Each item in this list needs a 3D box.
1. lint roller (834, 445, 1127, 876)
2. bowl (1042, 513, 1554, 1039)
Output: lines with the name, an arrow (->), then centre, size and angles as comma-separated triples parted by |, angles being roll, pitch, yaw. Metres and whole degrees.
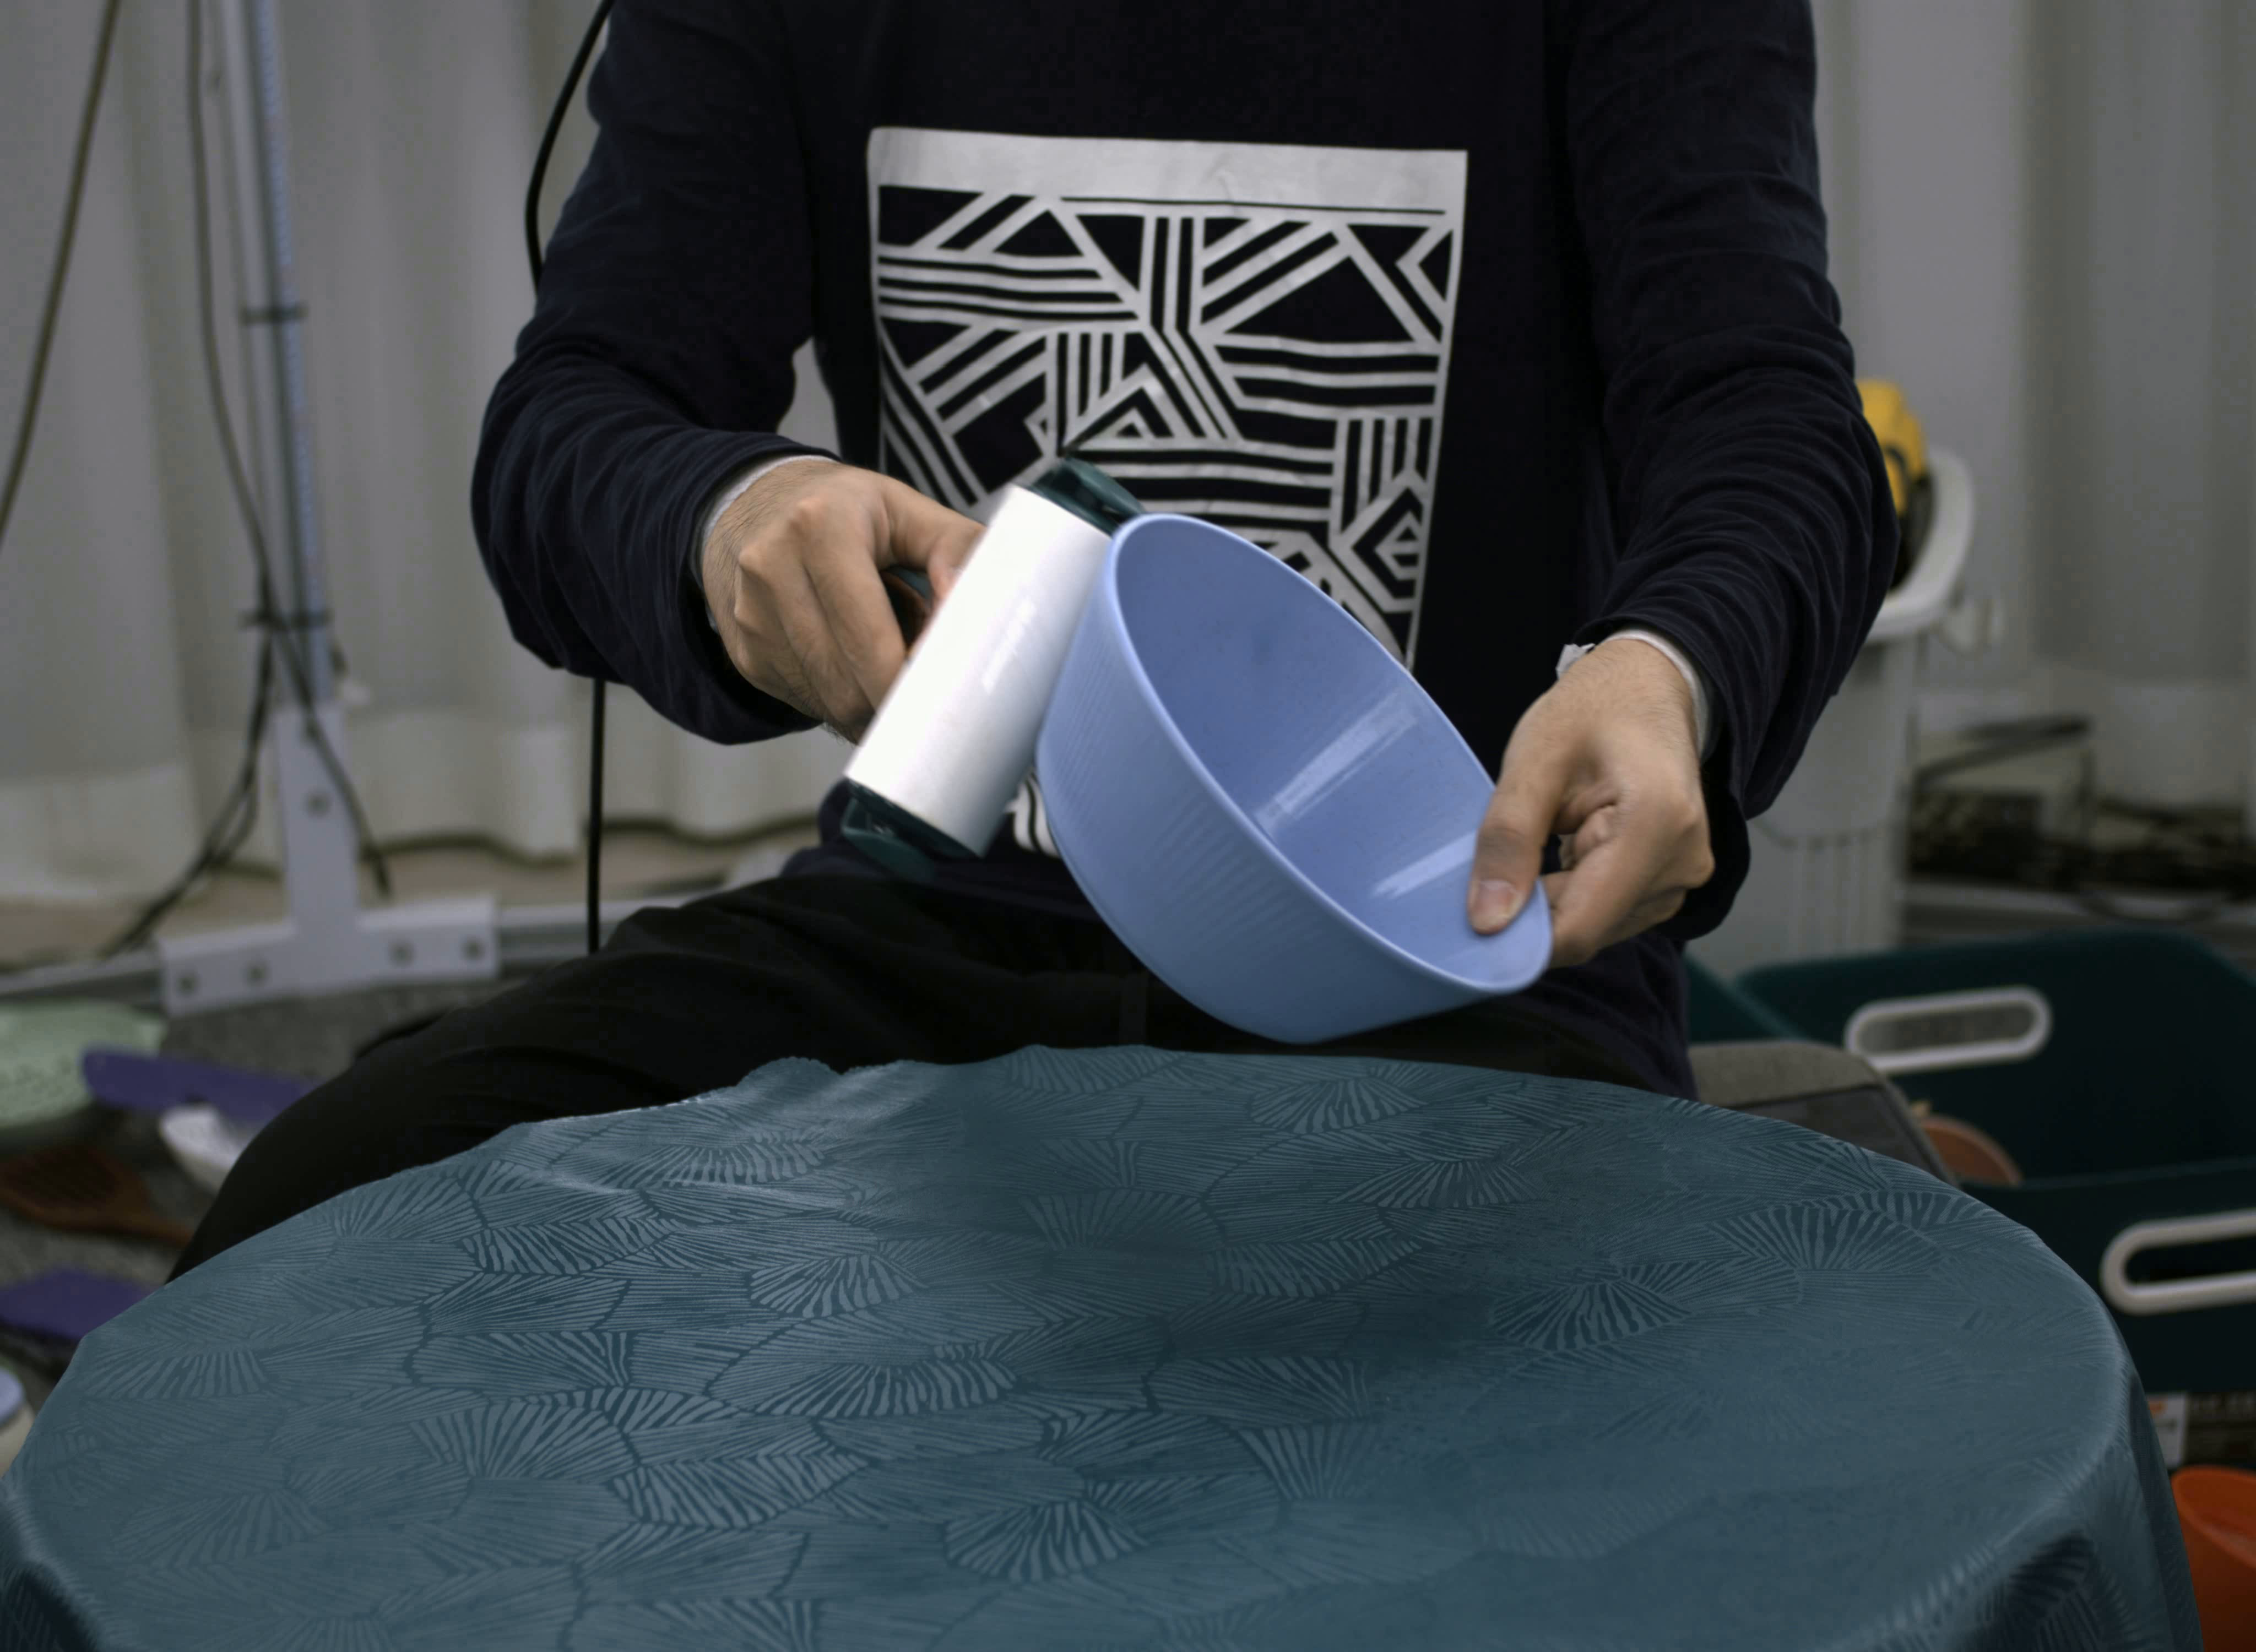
lint roller -> -0.068, -0.059, 1.664 | 0.048, 0.135, 0.181 | 31, -4, -25
bowl -> 0.039, -0.004, 1.580 | 0.070, 0.176, 0.177 | -43, -1, 23
